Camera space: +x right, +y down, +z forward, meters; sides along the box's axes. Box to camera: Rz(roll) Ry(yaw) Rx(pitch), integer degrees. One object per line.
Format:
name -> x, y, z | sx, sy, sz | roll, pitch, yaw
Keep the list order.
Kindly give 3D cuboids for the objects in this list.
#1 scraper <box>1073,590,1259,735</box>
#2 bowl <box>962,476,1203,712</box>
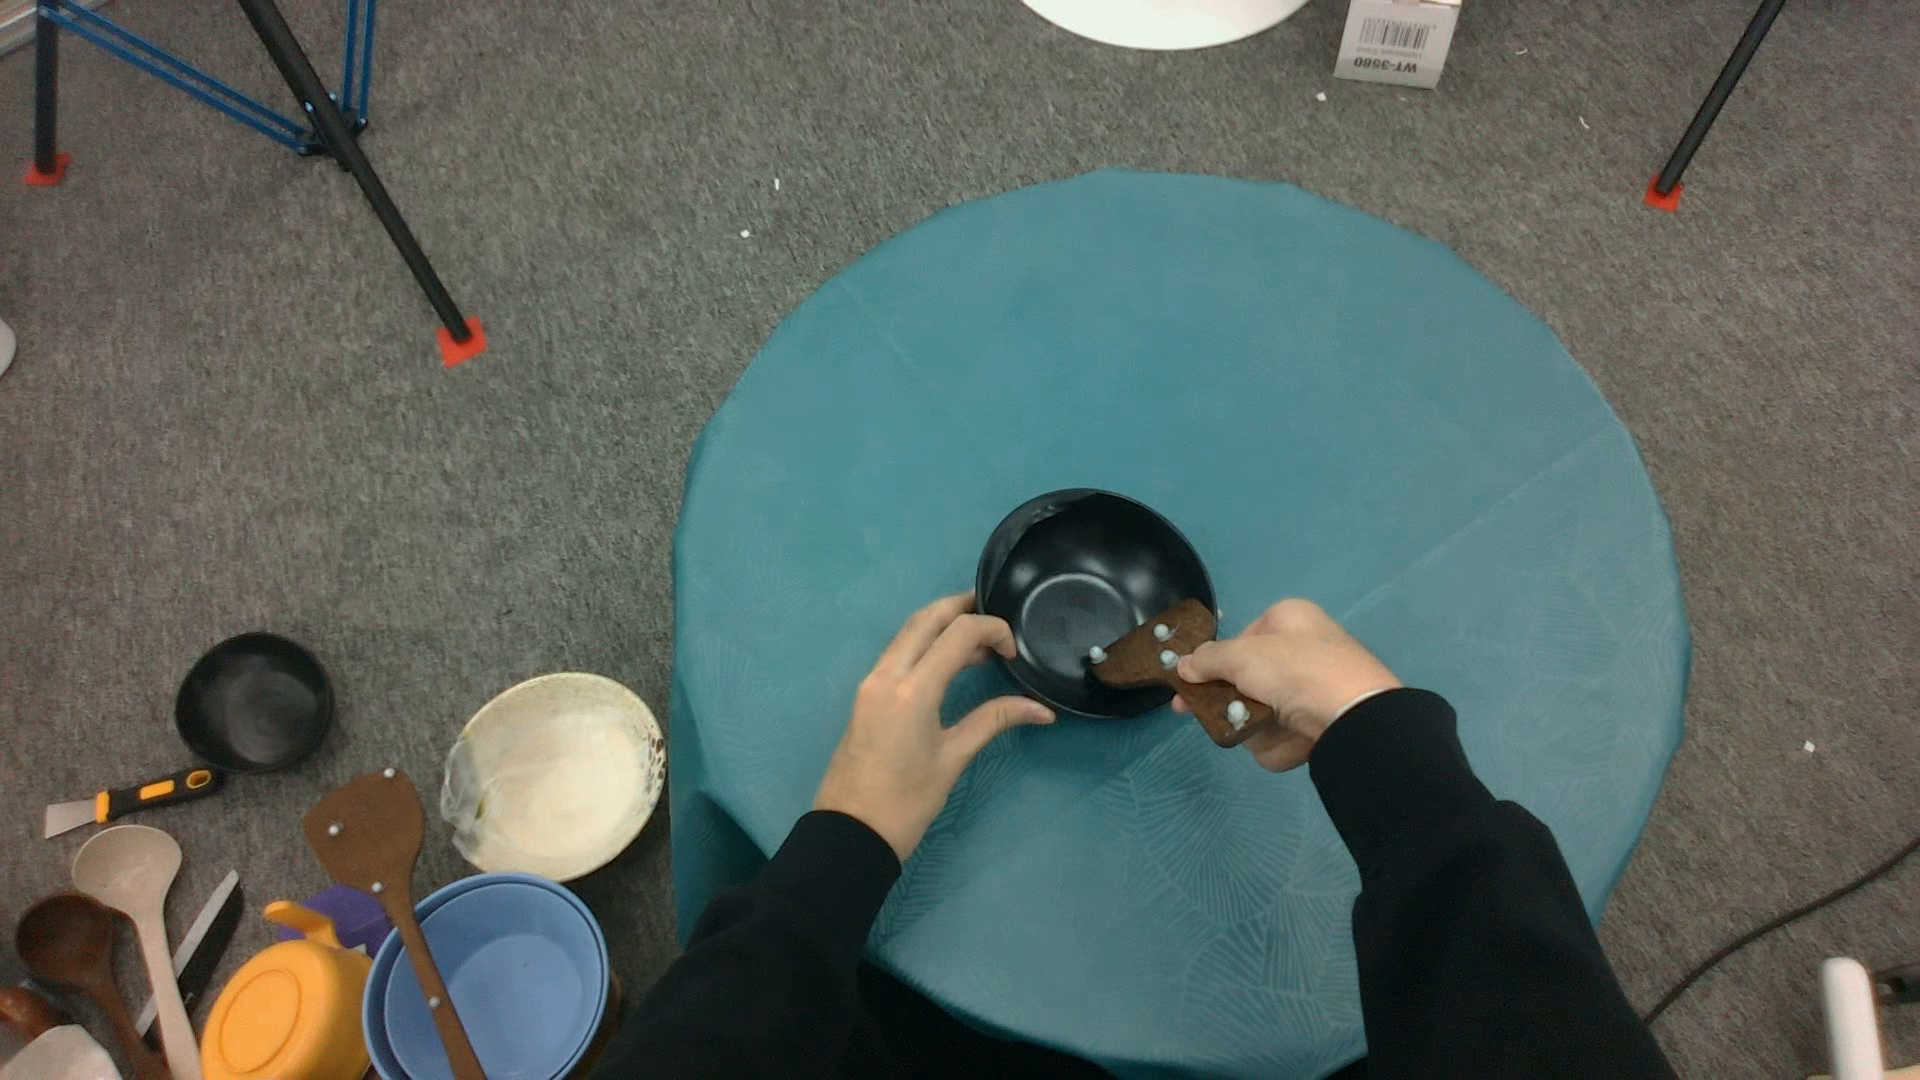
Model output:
scraper -> 0.106, 0.062, 0.685 | 0.076, 0.211, 0.011 | -30, 99, -1
bowl -> 0.063, 0.036, 0.773 | 0.140, 0.049, 0.140 | 7, 62, -13
